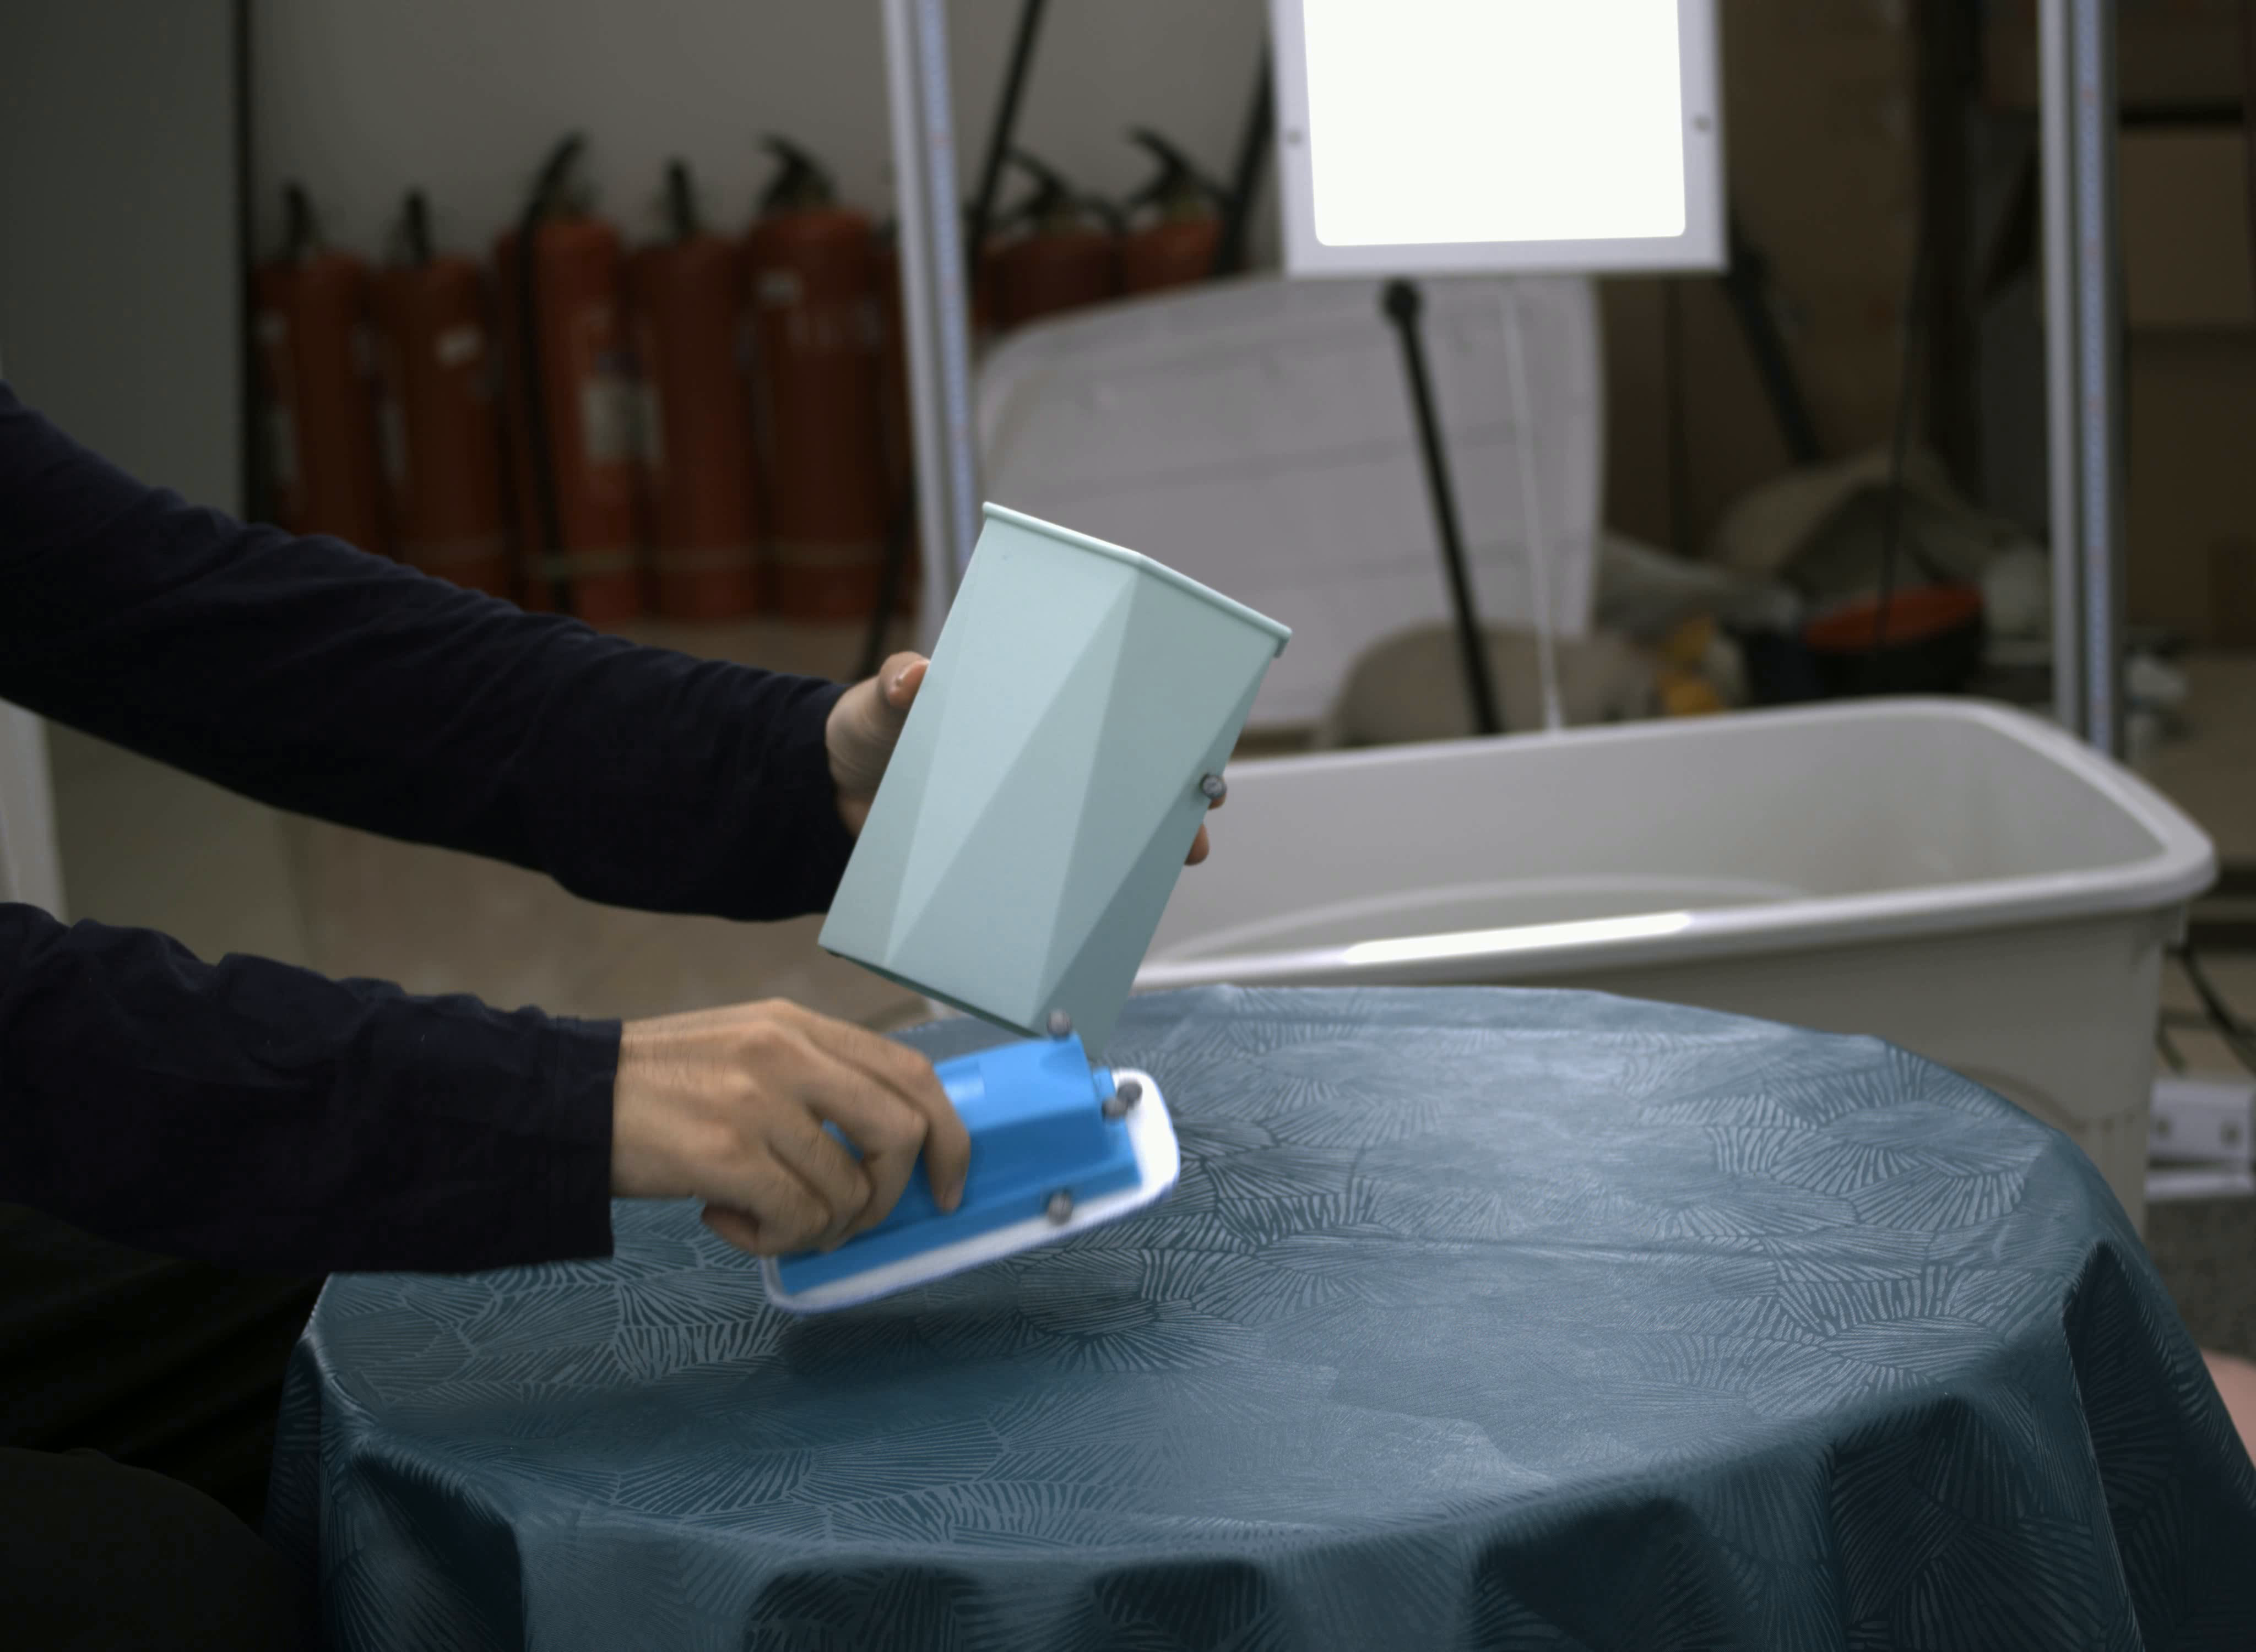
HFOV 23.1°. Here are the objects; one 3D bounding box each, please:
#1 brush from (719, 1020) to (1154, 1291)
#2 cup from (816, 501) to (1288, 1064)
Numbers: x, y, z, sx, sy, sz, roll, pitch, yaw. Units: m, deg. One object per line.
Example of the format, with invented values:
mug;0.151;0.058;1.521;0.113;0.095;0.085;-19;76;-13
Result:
brush;-0.065;0.100;1.766;0.144;0.056;0.084;-15;27;2
cup;-0.029;-0.012;1.896;0.115;0.163;0.131;22;-3;0
